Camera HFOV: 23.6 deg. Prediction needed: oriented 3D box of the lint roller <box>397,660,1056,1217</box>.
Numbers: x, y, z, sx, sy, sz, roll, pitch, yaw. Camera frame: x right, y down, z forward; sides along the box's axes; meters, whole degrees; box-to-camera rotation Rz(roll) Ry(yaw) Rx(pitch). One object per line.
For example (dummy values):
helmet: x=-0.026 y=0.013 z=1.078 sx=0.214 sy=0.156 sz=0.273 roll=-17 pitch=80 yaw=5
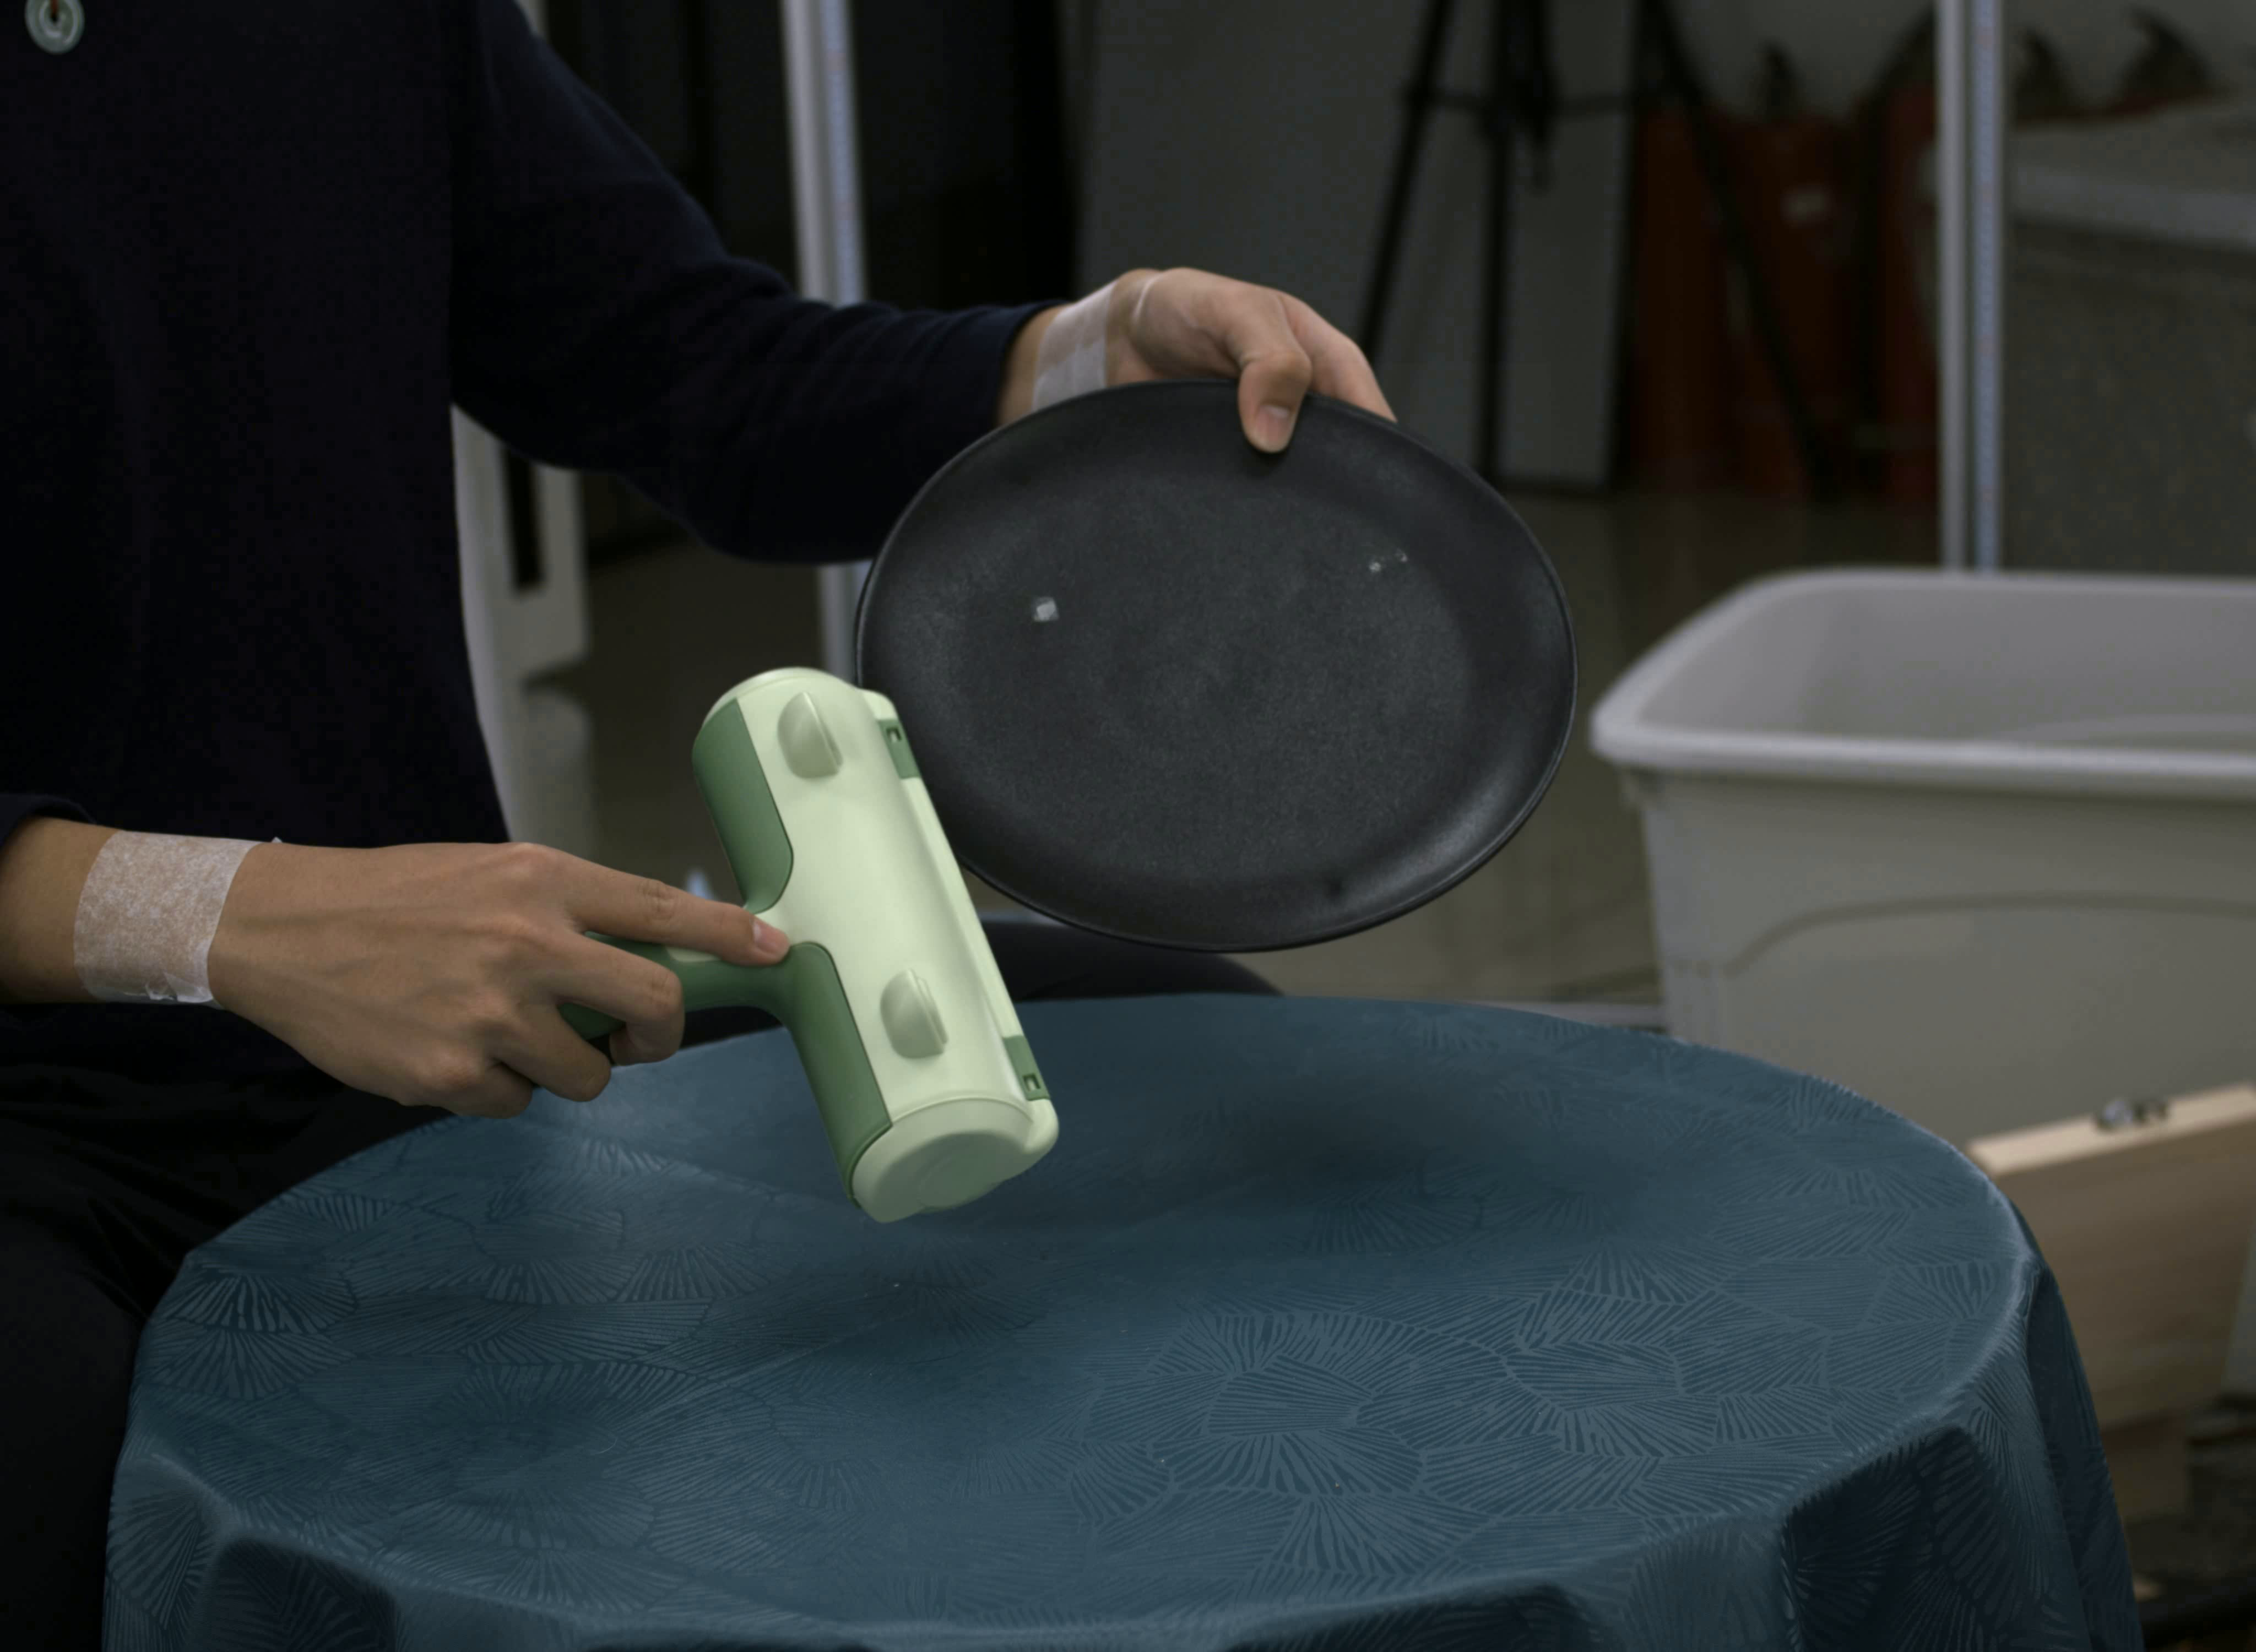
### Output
lint roller: x=-0.131 y=0.029 z=1.665 sx=0.179 sy=0.083 sz=0.201 roll=-1 pitch=47 yaw=-27

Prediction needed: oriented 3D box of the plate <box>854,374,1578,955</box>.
plate: x=0.029 y=-0.053 z=1.796 sx=0.241 sy=0.023 sz=0.247 roll=-1 pitch=53 yaw=0
